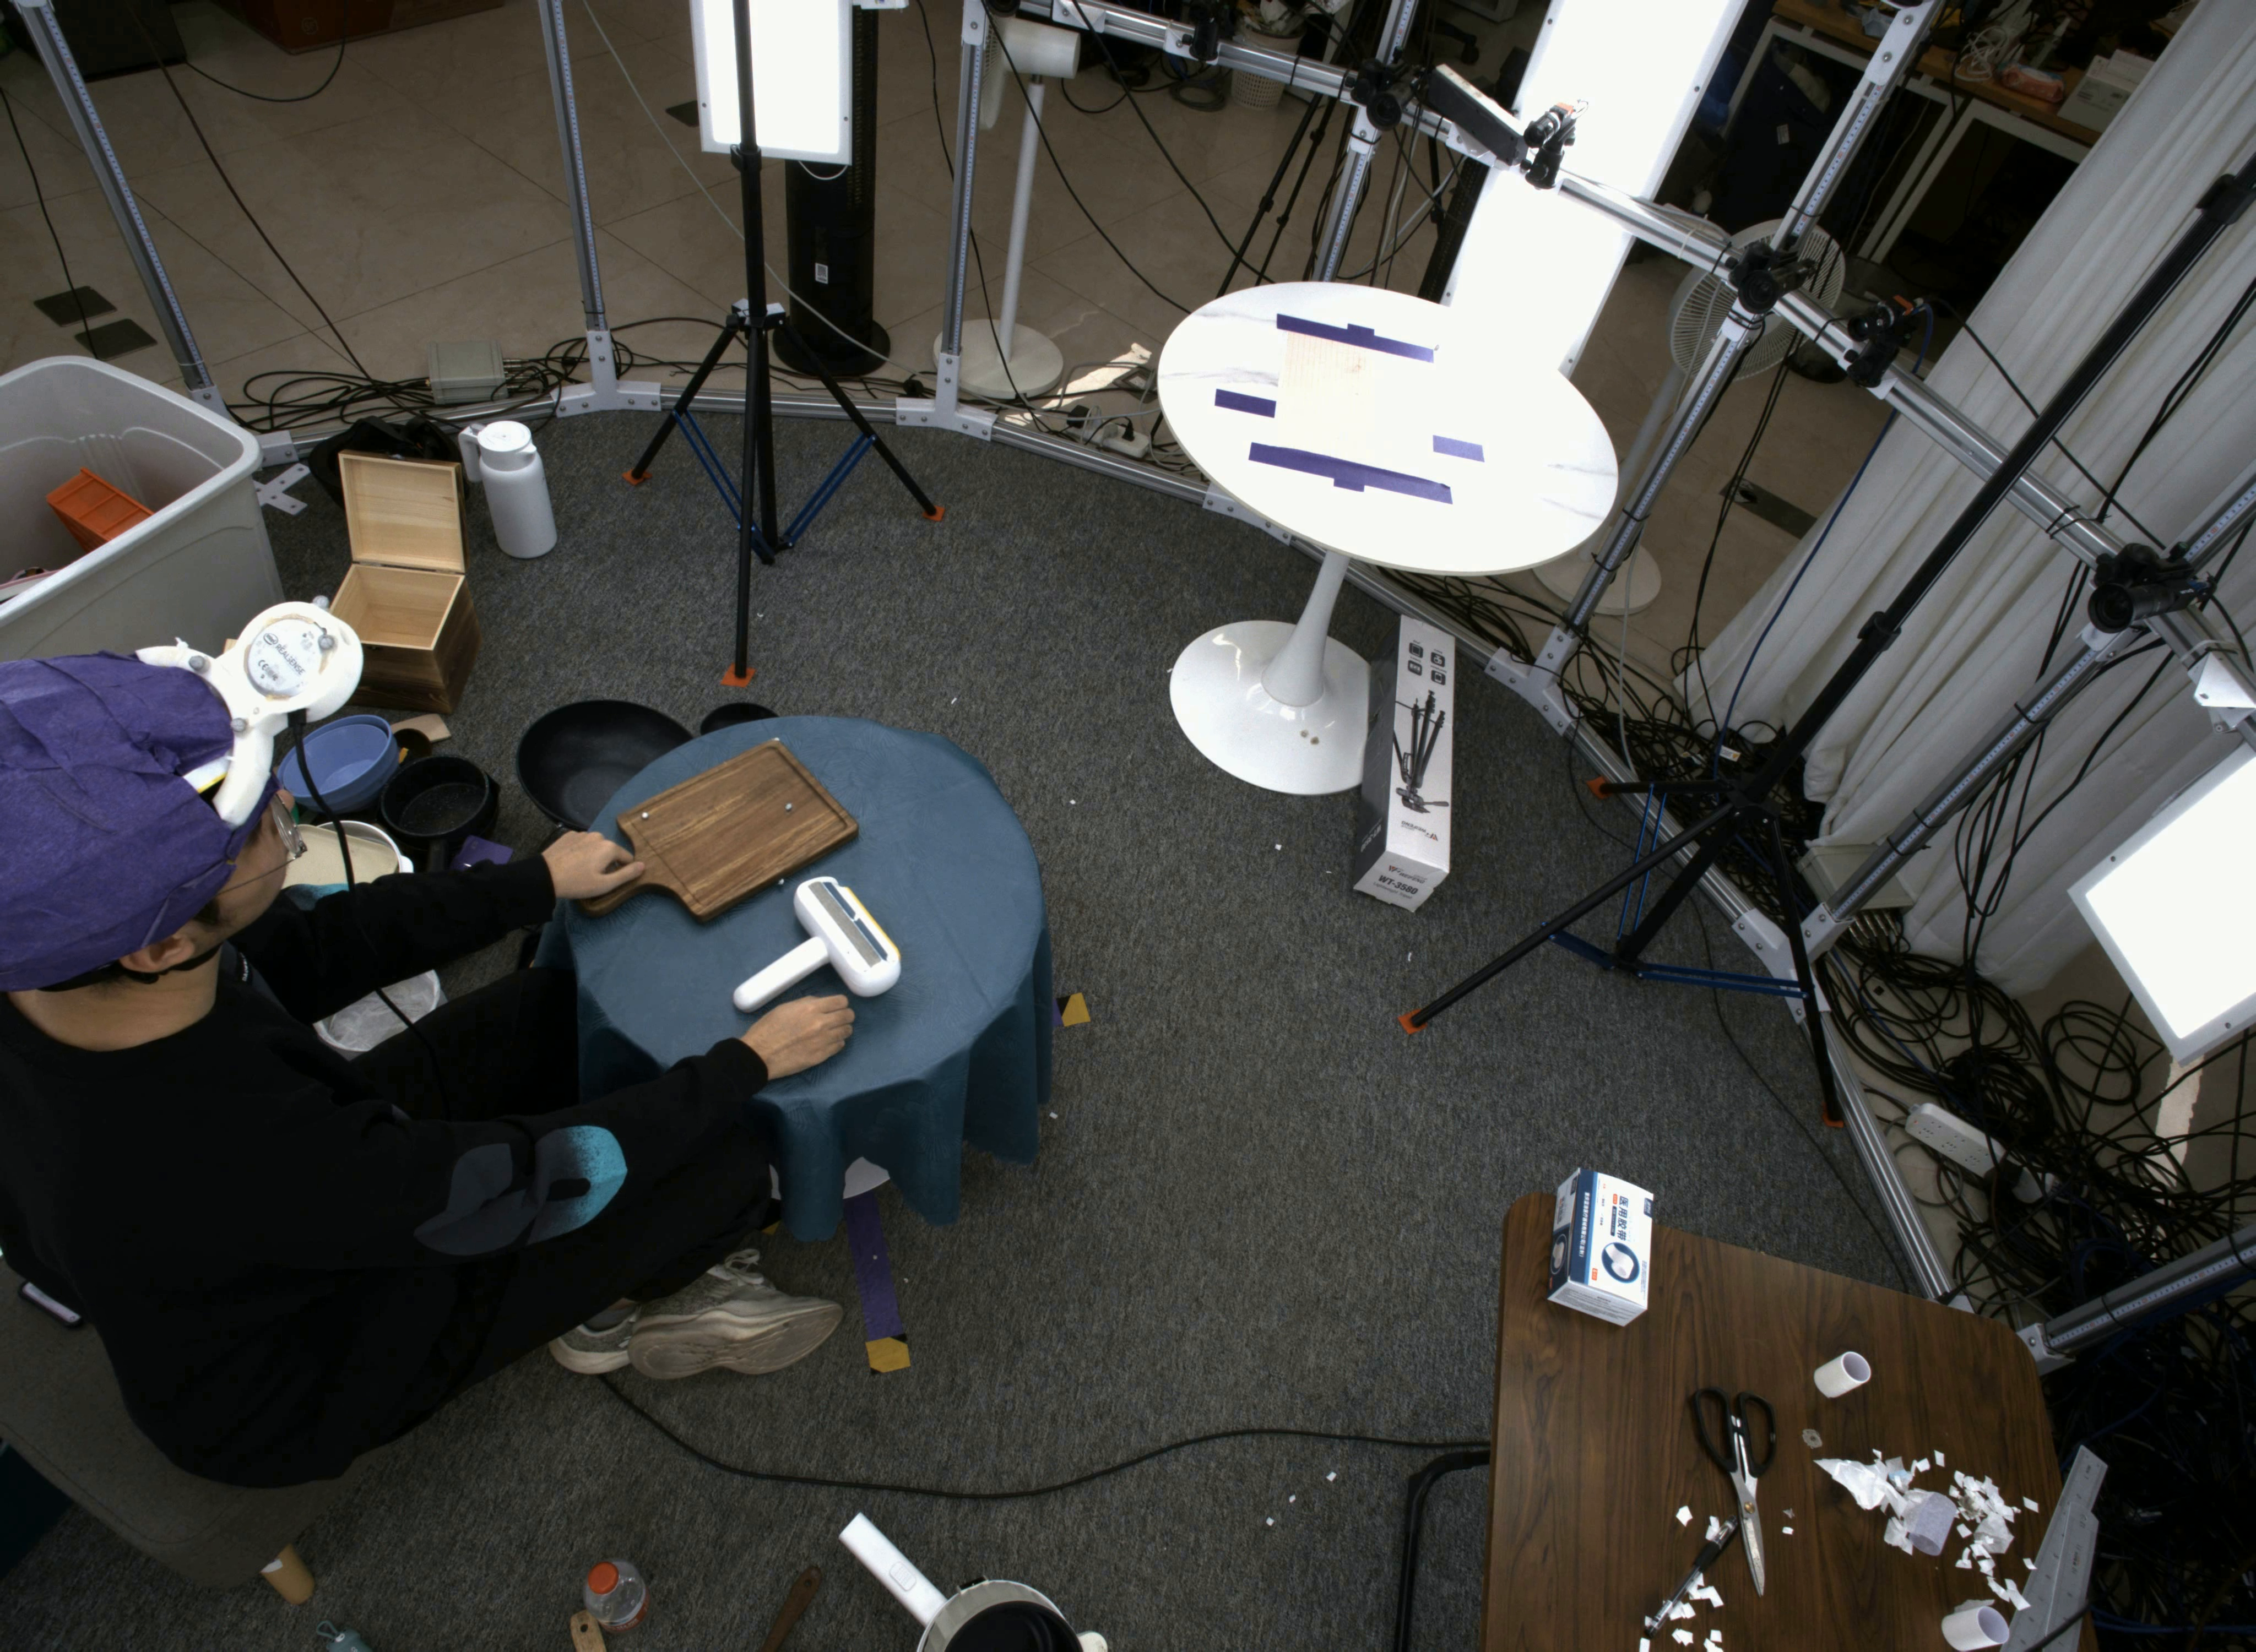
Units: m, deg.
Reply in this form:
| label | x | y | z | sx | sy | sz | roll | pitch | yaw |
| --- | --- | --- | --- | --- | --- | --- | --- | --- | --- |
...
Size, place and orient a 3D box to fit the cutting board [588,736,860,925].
| label | x | y | z | sx | sy | sz | roll | pitch | yaw |
| --- | --- | --- | --- | --- | --- | --- | --- | --- | --- |
| cutting board | -0.543 | 0.021 | 1.664 | 0.353 | 0.023 | 0.197 | -34 | 69 | -34 |

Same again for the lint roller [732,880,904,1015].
| label | x | y | z | sx | sy | sz | roll | pitch | yaw |
| --- | --- | --- | --- | --- | --- | --- | --- | --- | --- |
| lint roller | -0.391 | 0.163 | 1.574 | 0.193 | 0.076 | 0.187 | -23 | 55 | -26 |
